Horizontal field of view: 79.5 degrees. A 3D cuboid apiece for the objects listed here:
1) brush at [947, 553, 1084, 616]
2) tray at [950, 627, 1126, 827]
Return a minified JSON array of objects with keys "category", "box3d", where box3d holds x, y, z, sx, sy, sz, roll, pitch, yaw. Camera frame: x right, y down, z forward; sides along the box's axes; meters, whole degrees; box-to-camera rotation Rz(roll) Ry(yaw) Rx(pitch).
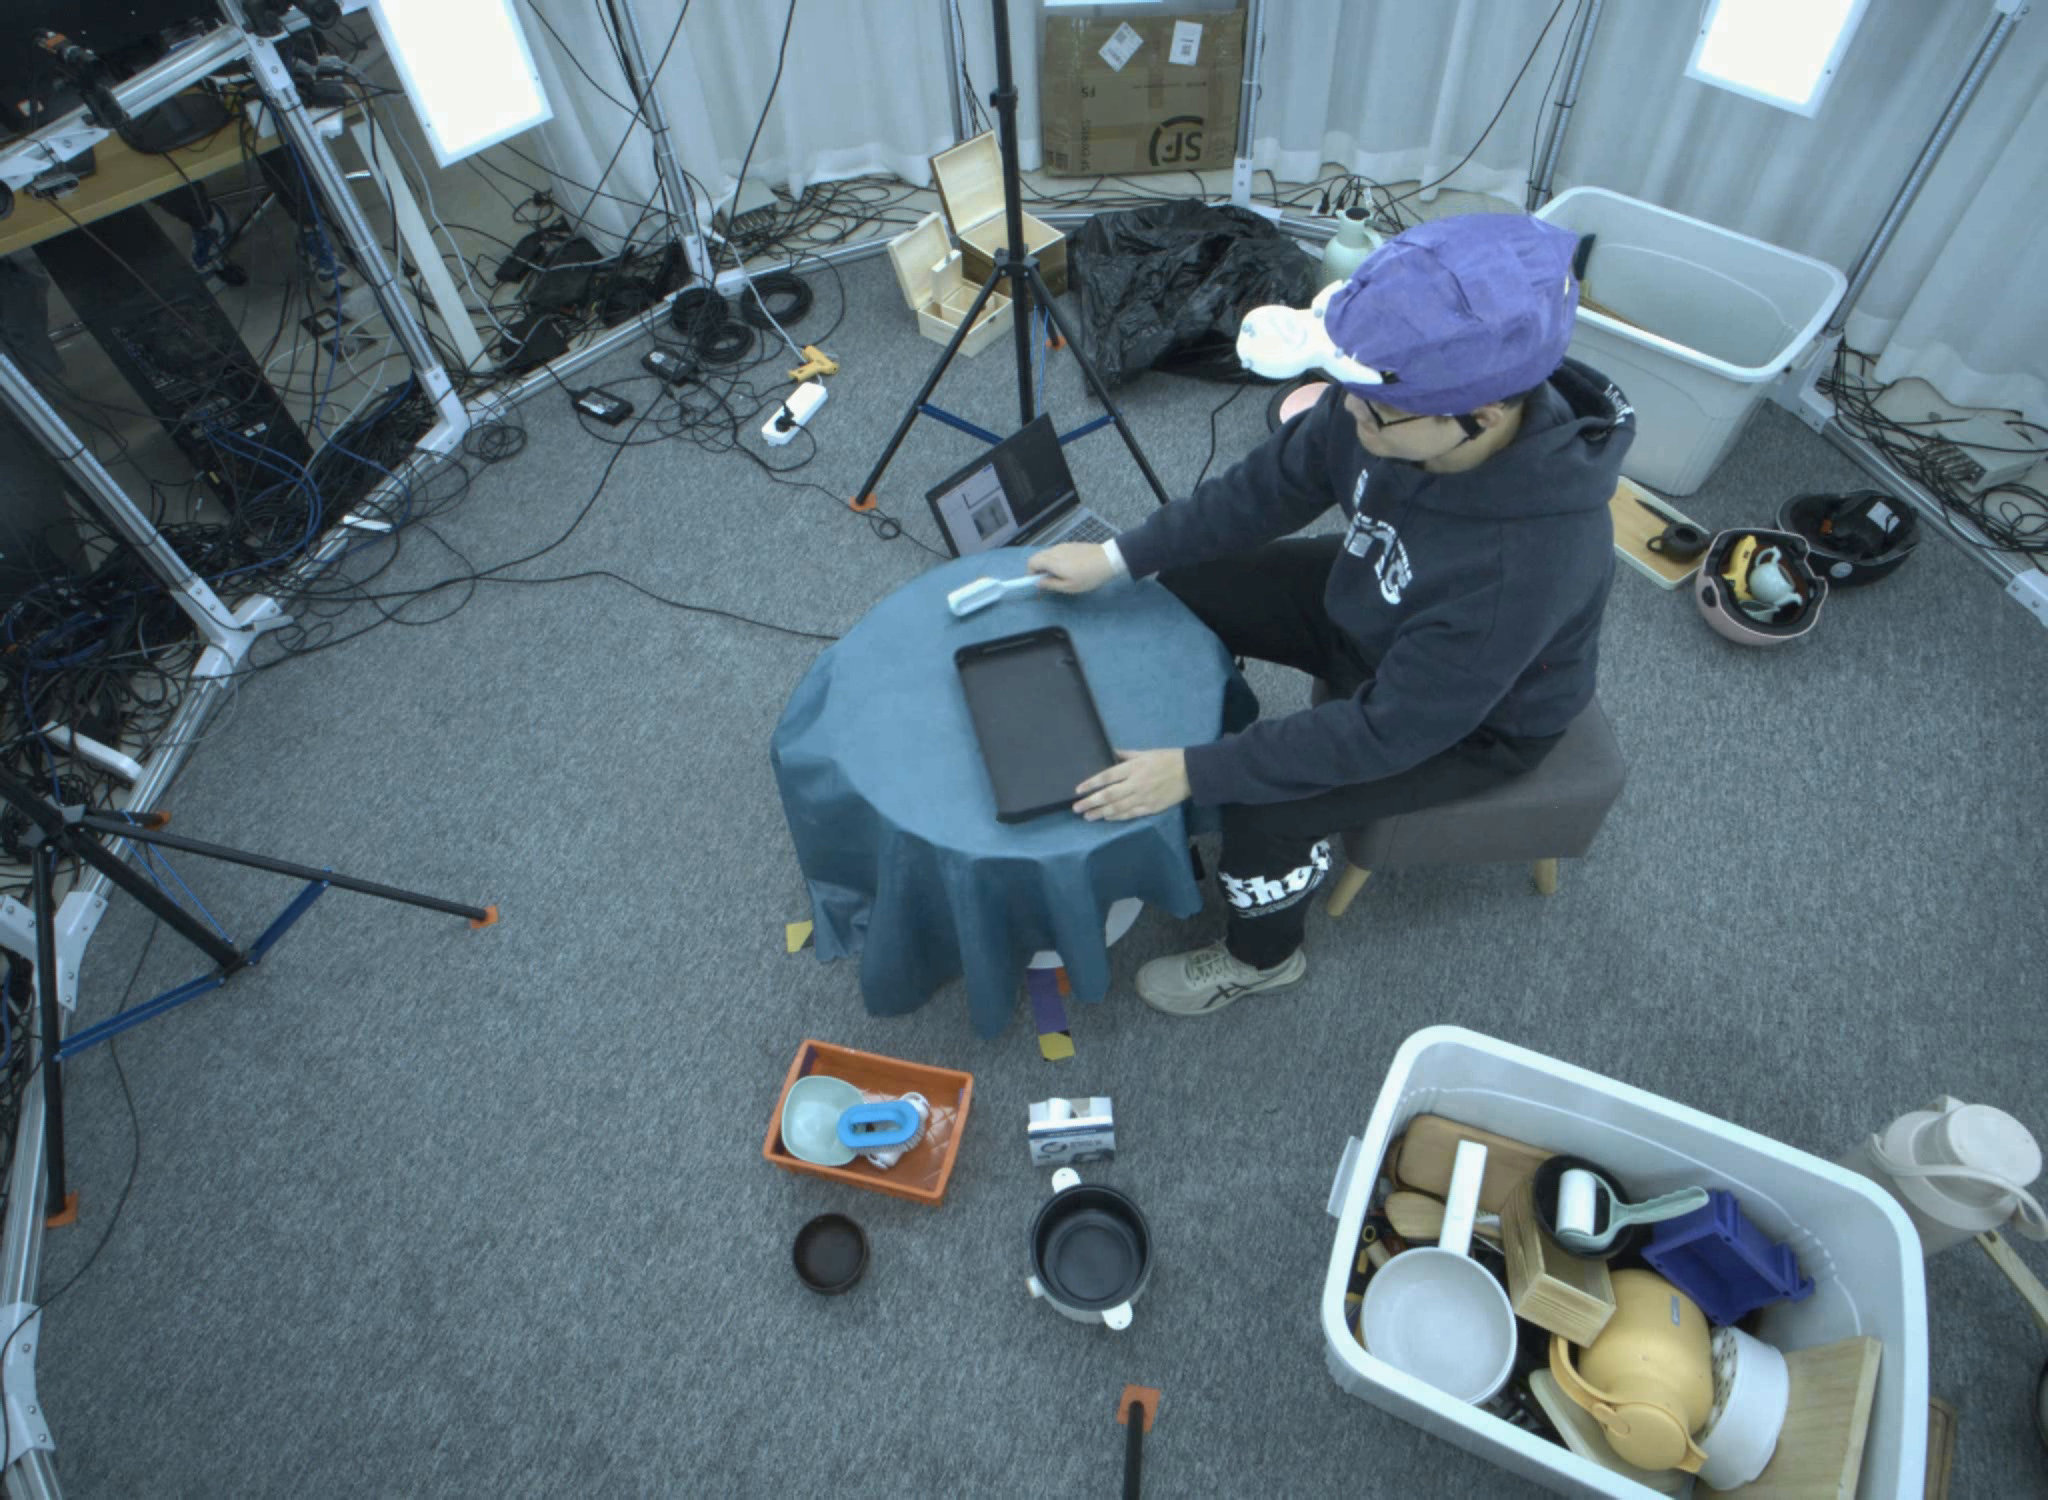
[{"category":"brush","box3d":[-0.015,-0.270,1.946,0.229,0.038,0.049,-21,35,-6]},{"category":"tray","box3d":[0.016,-0.040,1.793,0.185,0.037,0.313,-14,55,-9]}]
